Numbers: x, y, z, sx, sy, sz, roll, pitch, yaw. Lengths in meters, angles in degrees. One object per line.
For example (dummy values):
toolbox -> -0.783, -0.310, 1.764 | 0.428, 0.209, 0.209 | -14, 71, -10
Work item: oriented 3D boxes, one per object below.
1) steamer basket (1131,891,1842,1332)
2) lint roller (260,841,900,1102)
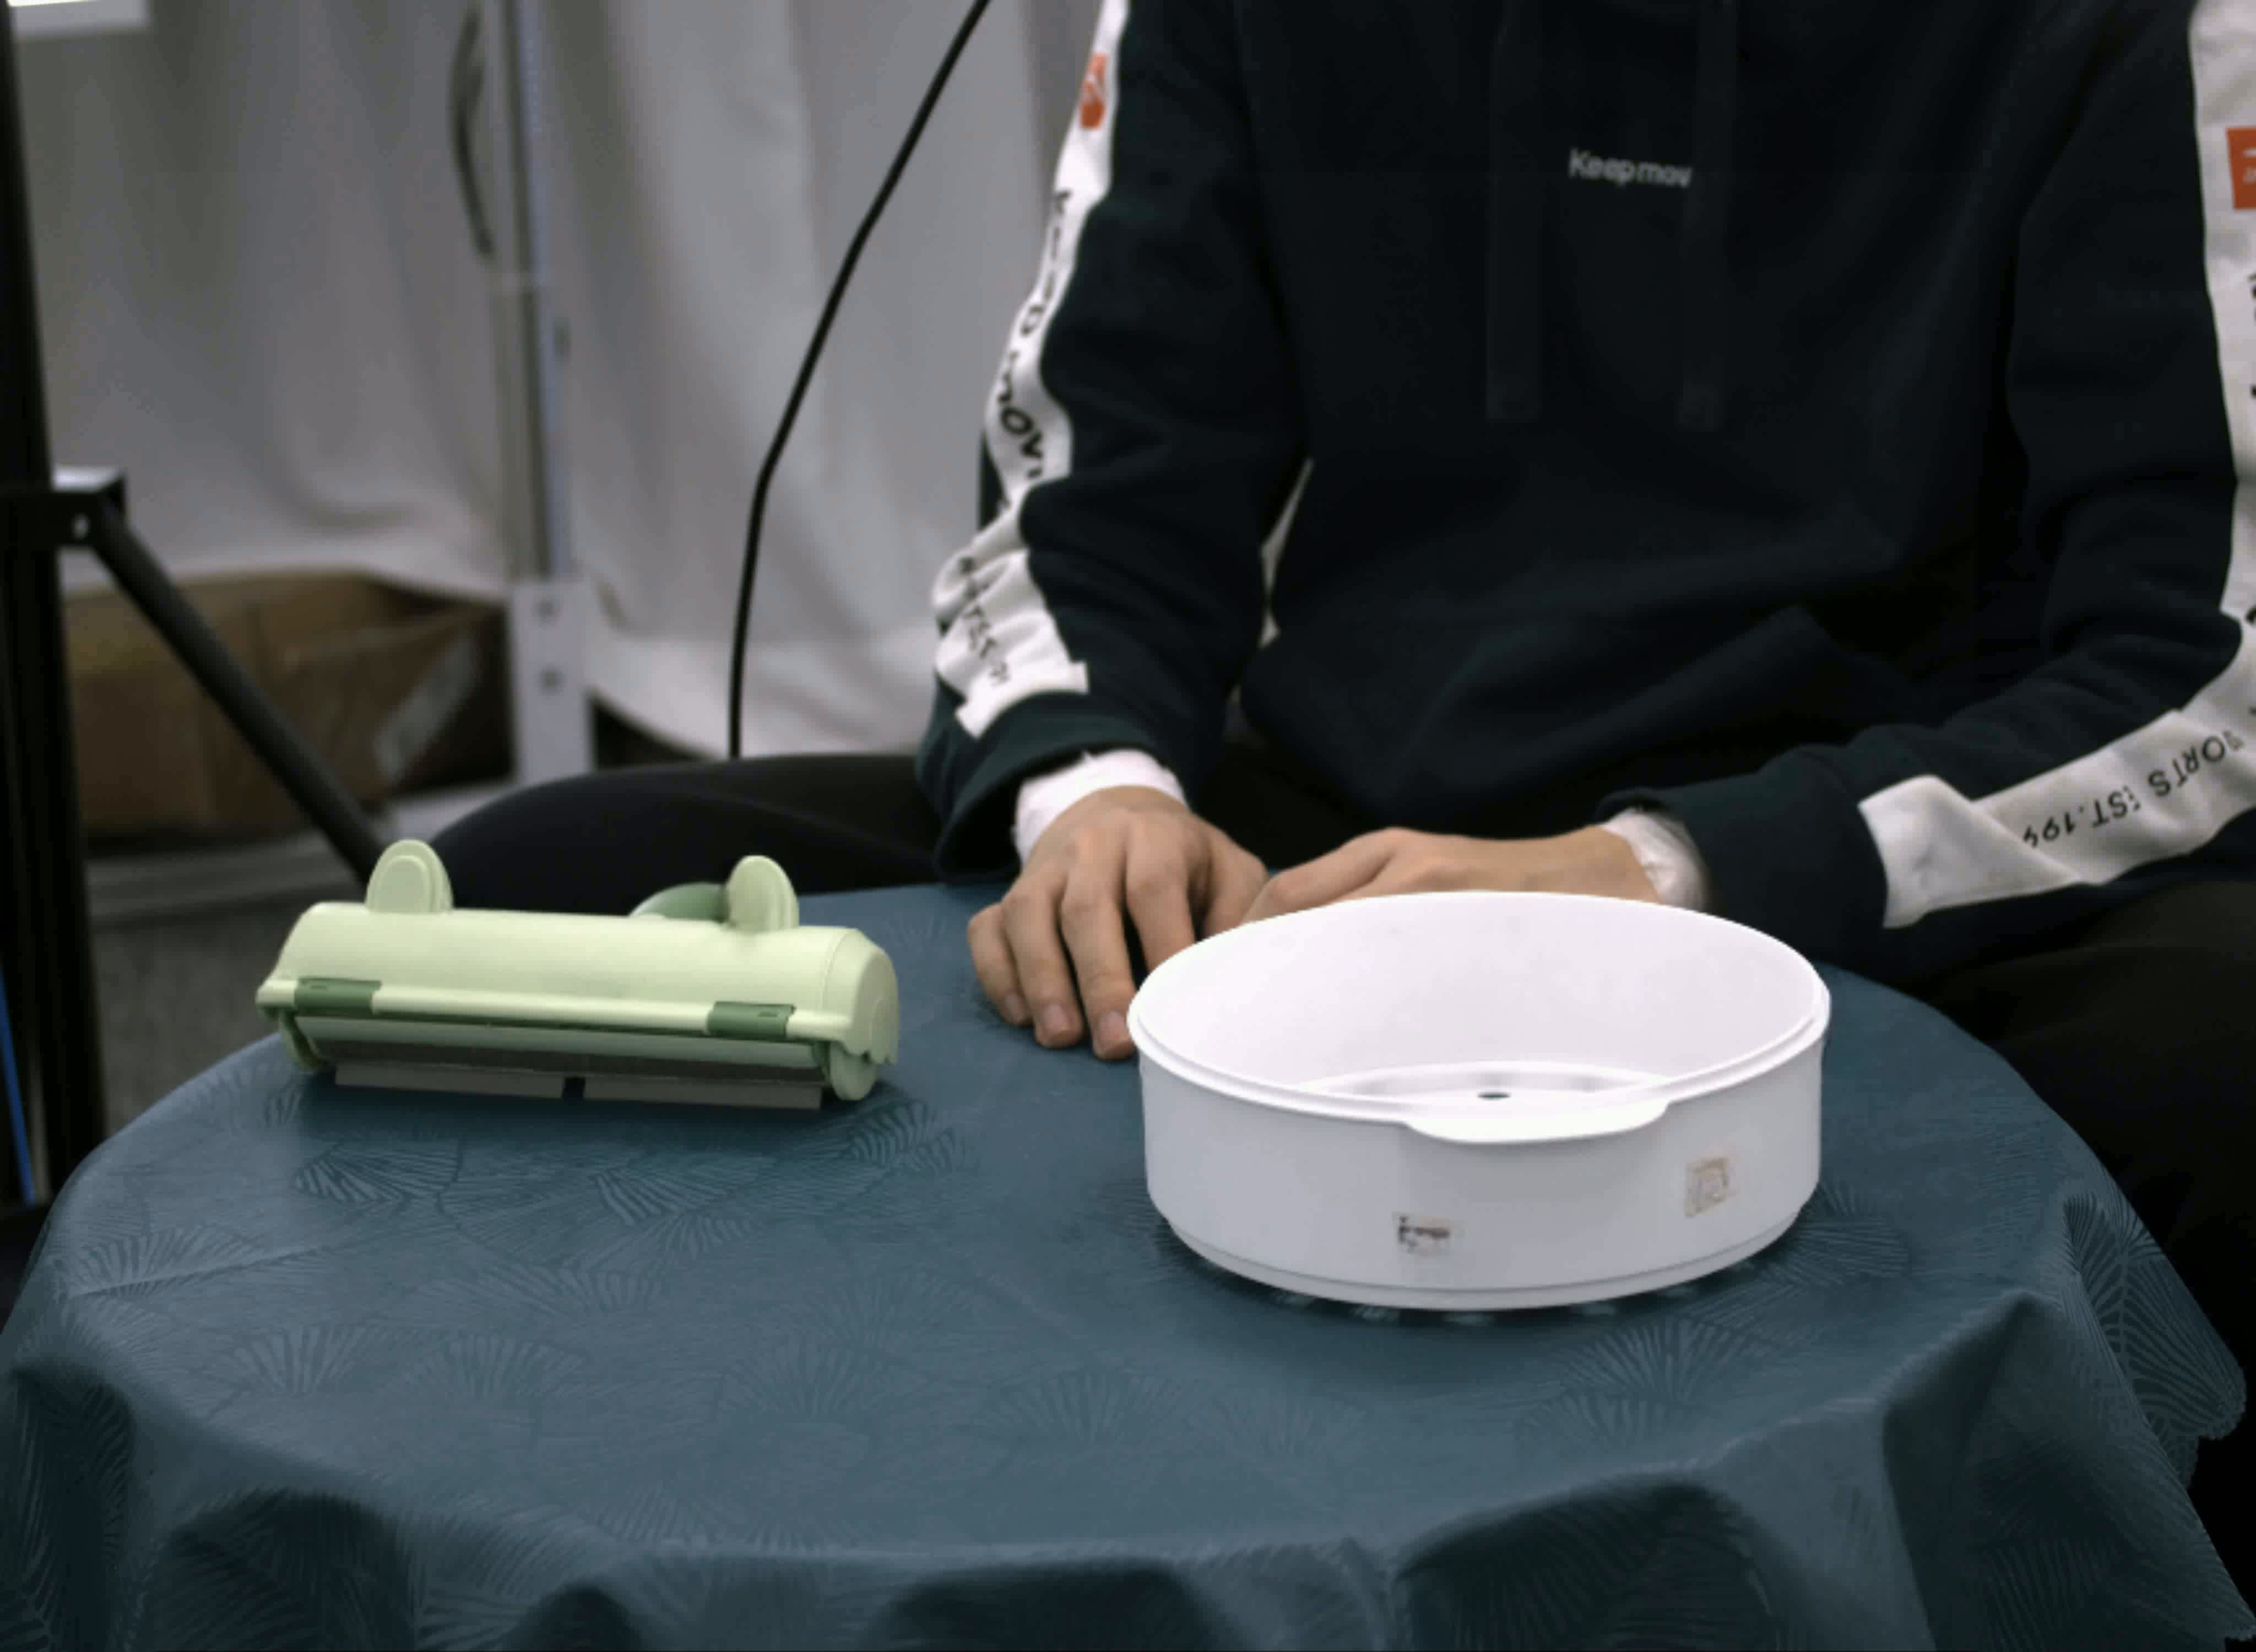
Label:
steamer basket -> 0.103, 0.081, 1.511 | 0.200, 0.069, 0.232 | -5, 17, -4
lint roller -> -0.157, 0.030, 1.720 | 0.200, 0.082, 0.182 | 2, 21, 17
